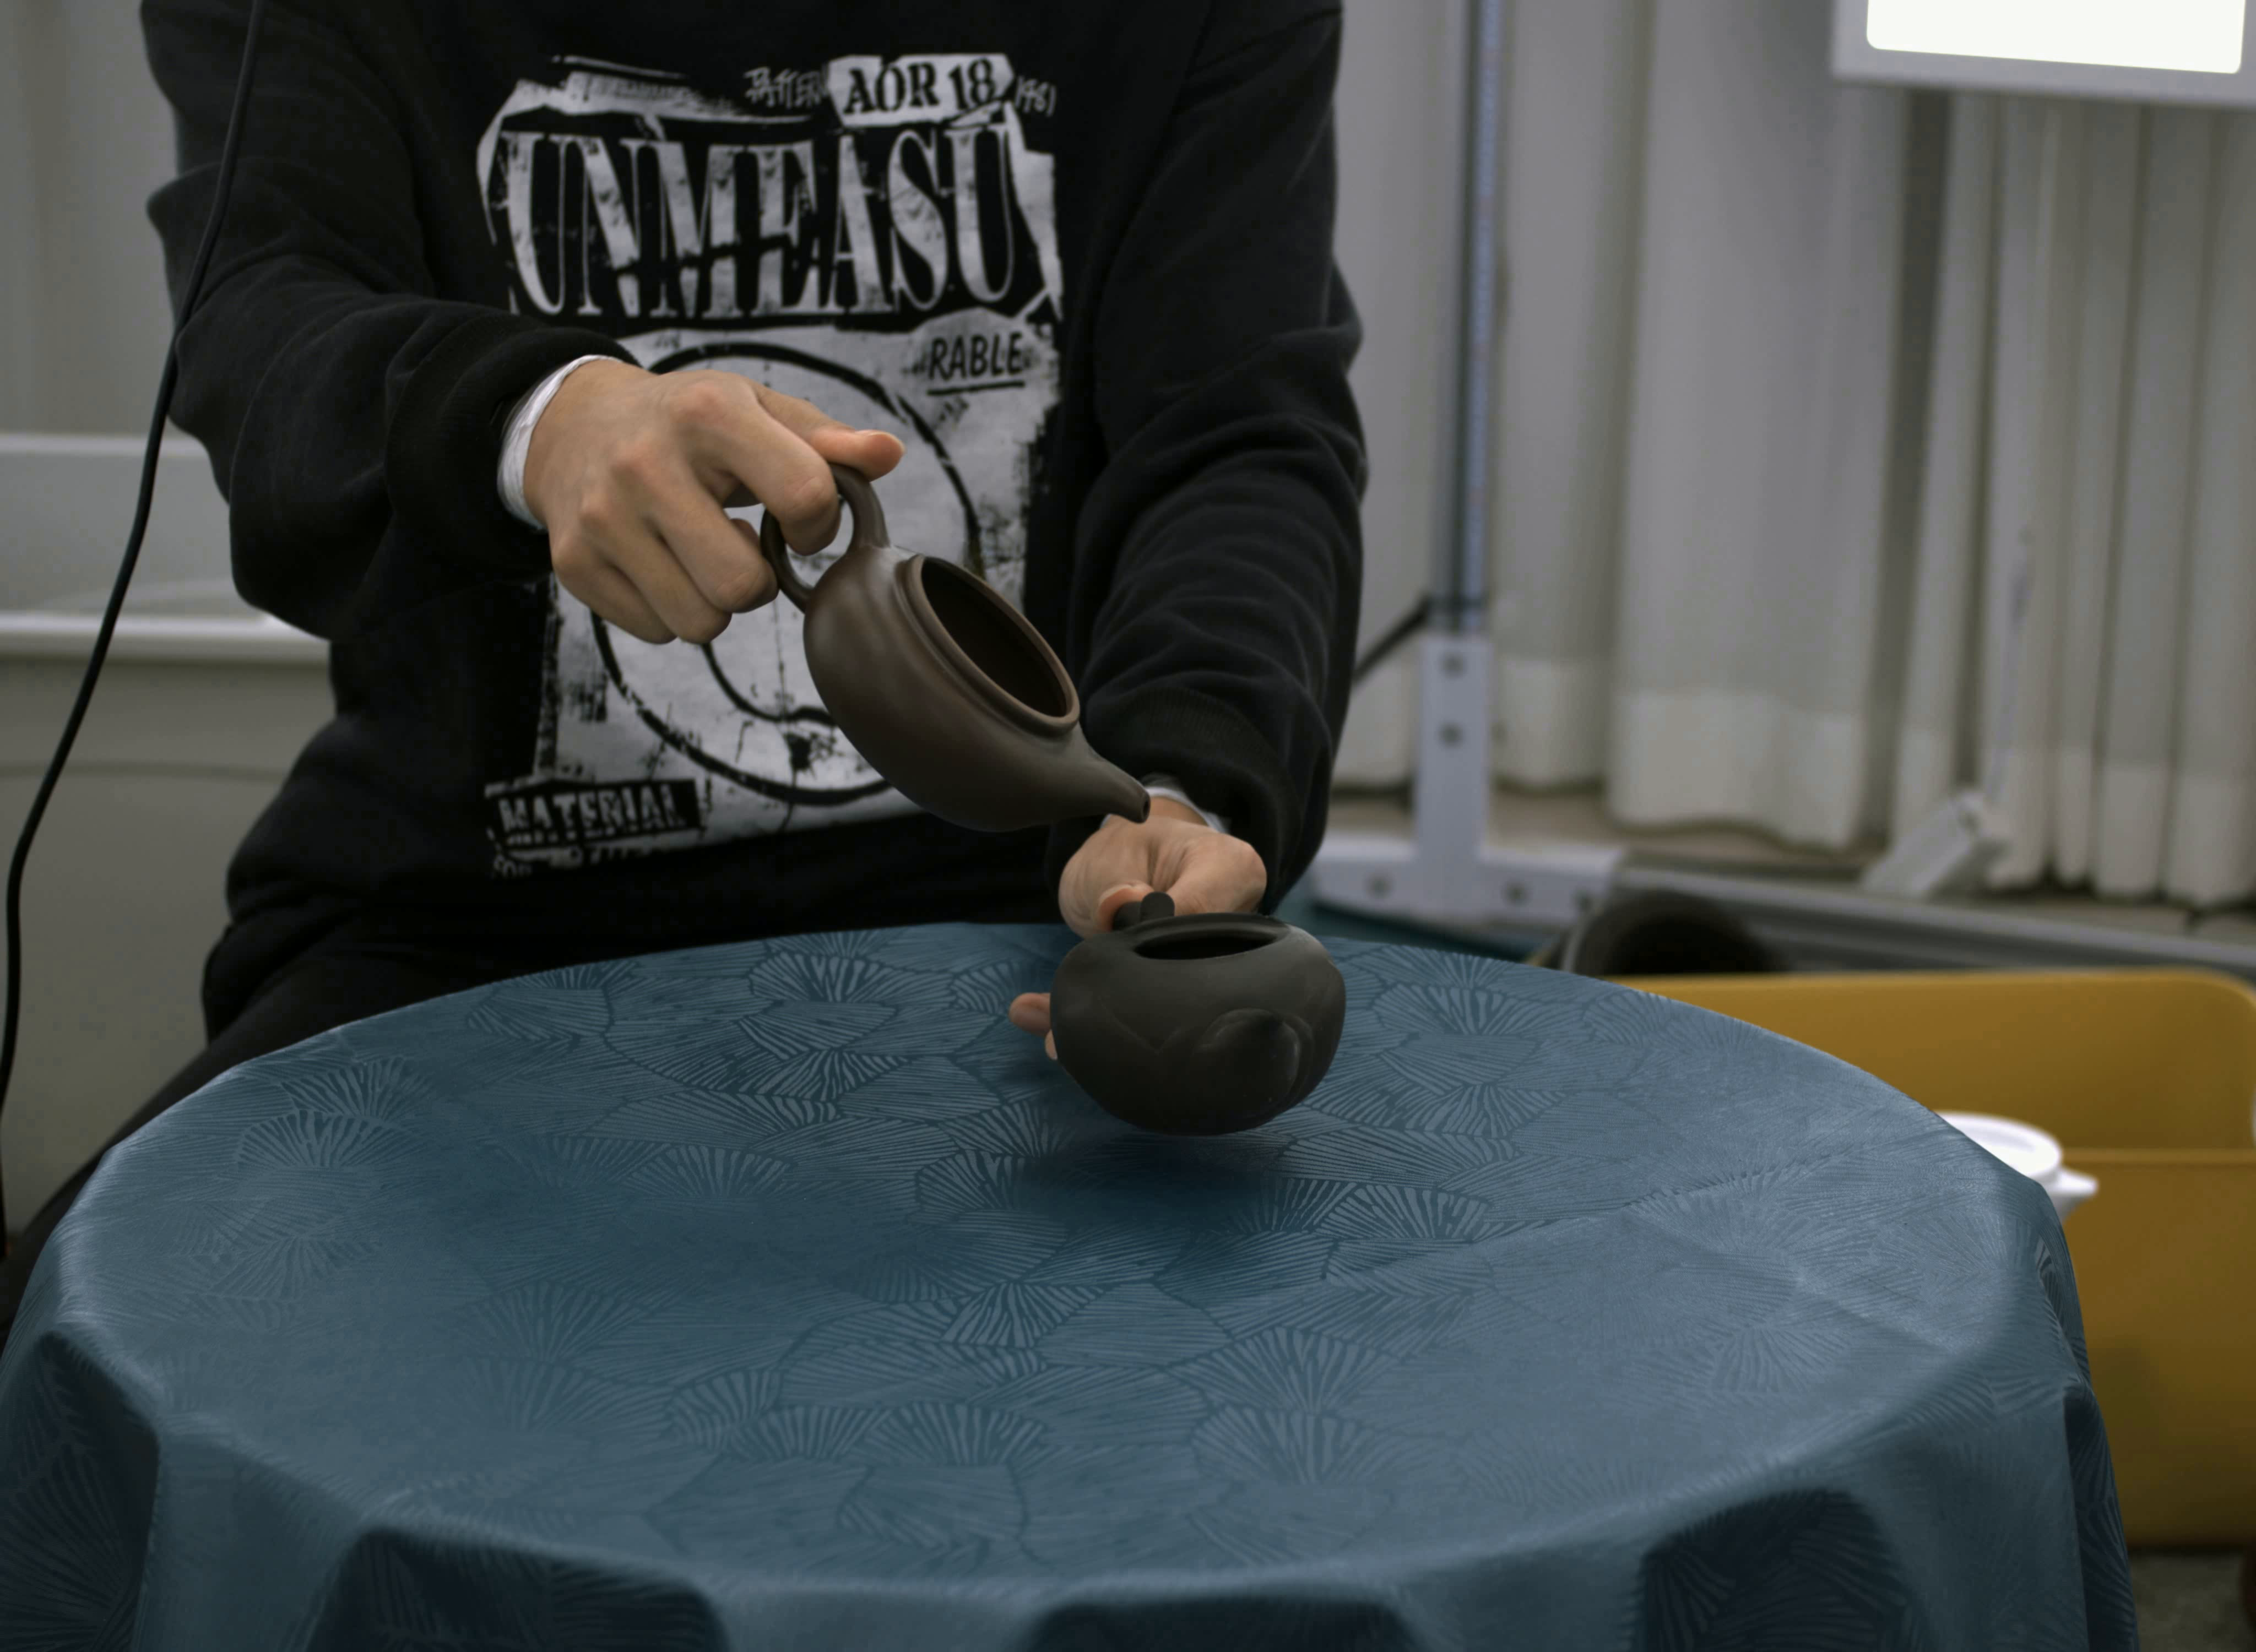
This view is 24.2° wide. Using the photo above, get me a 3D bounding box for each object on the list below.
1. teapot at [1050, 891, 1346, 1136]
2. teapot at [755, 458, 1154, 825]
[{"bbox_3d":[0.021,0.059,1.647,0.092,0.065,0.153,-5,14,-16],"label":"teapot"},{"bbox_3d":[-0.058,-0.049,1.611,0.153,0.054,0.103,48,16,2],"label":"teapot"}]
